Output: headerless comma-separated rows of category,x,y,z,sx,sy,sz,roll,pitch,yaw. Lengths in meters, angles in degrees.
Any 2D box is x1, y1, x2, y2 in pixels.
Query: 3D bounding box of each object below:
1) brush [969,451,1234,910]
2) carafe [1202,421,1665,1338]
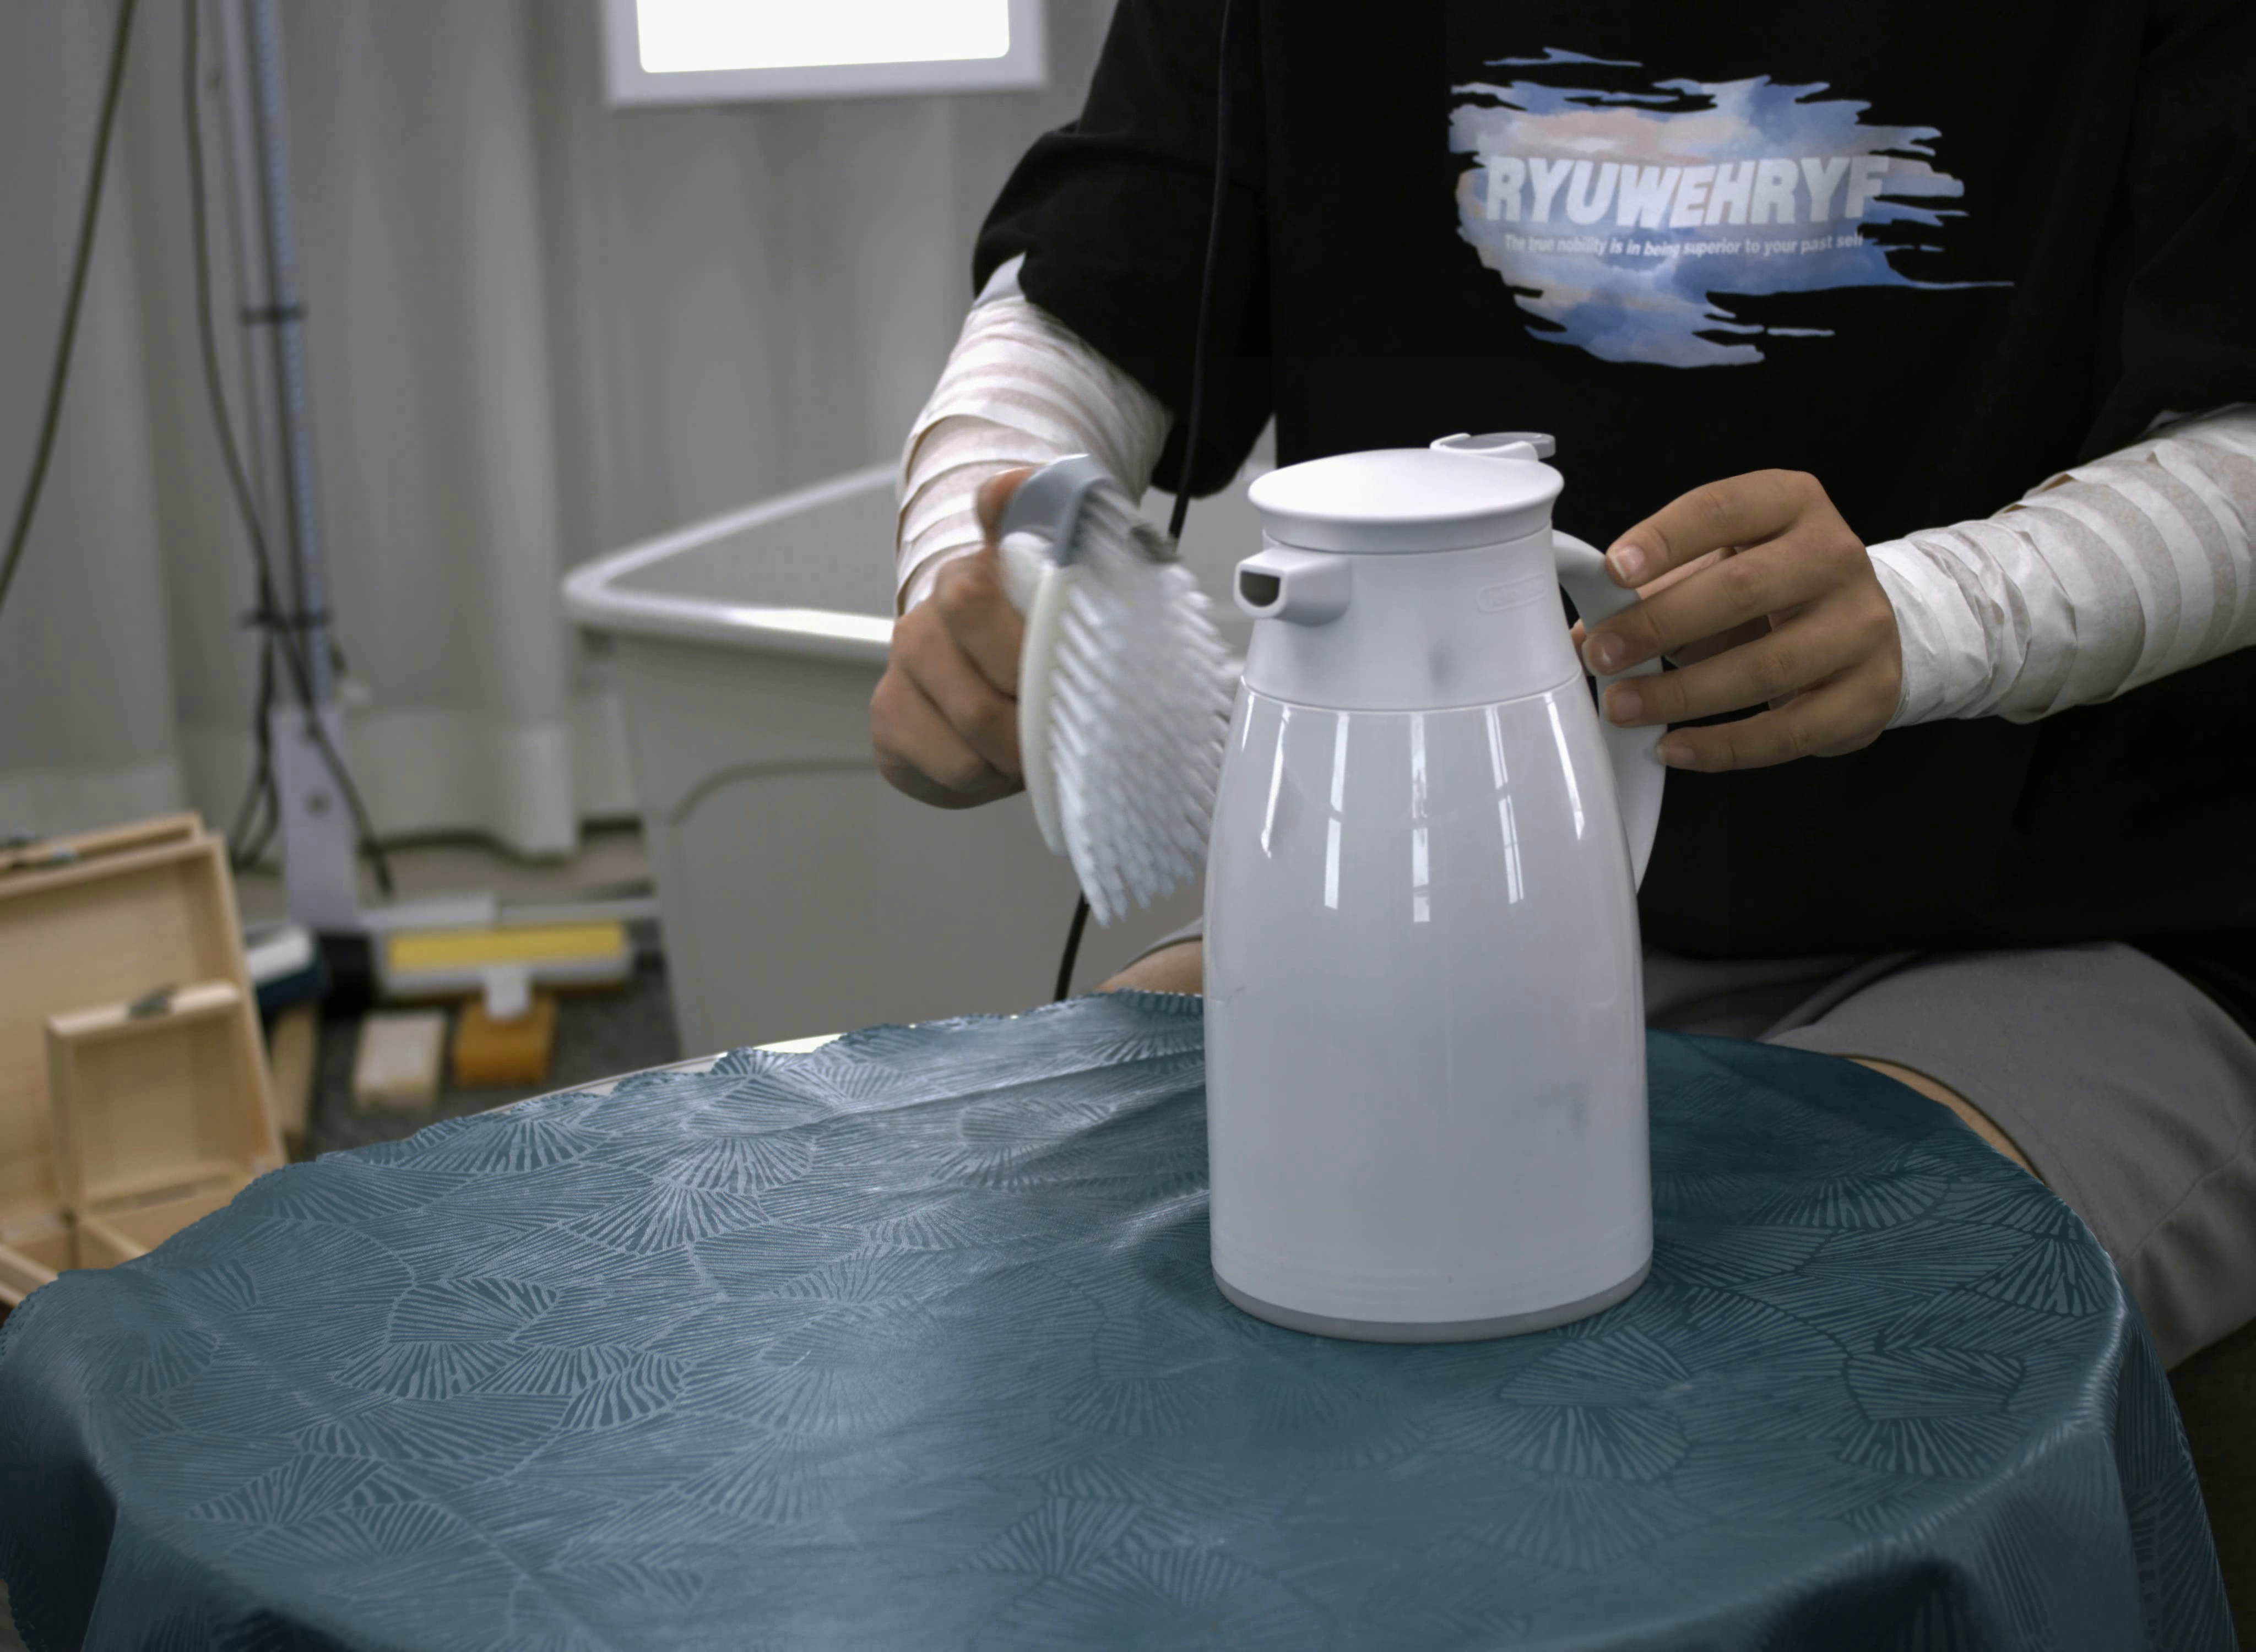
brush,-0.014,-0.061,1.692,0.061,0.173,0.095,-31,56,-18
carafe,0.098,0.007,1.616,0.133,0.248,0.167,10,19,43
